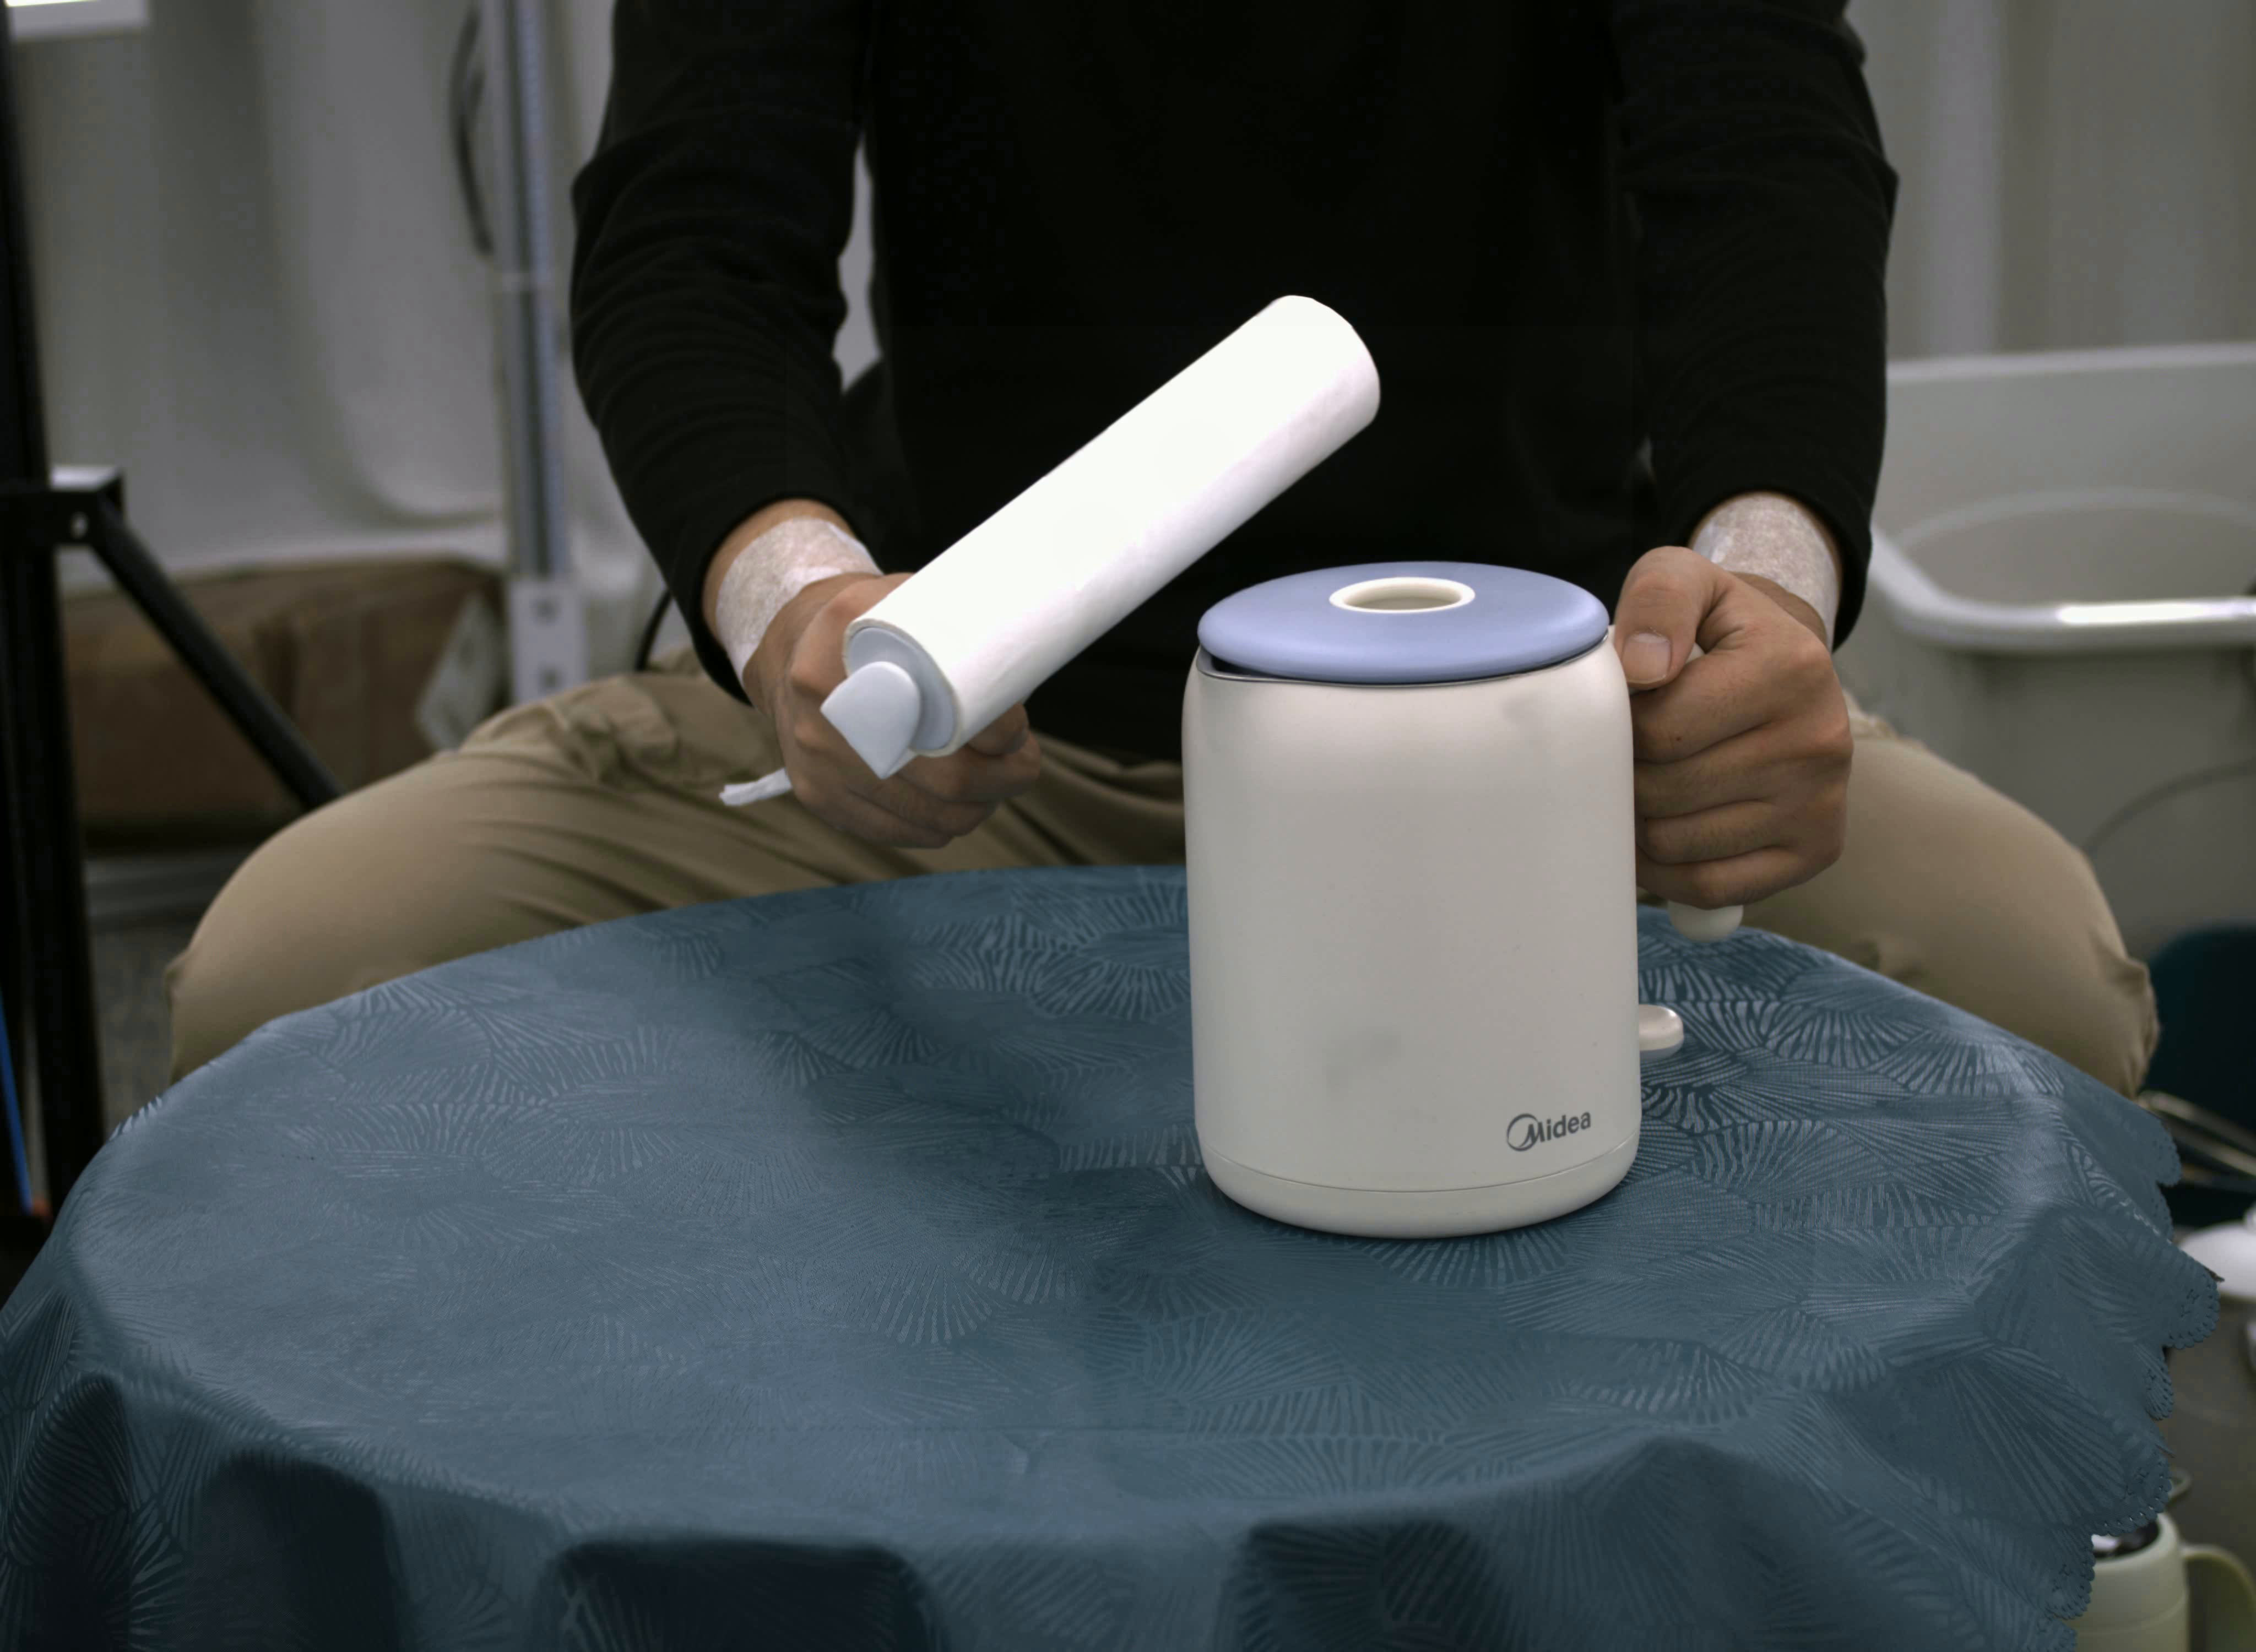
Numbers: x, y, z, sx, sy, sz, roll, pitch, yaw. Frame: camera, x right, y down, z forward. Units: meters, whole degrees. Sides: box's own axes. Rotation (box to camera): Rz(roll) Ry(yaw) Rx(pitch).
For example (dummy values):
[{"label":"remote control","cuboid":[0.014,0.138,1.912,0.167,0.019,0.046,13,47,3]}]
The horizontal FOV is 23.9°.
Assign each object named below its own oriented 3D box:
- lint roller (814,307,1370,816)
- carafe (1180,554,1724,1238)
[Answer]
[{"label":"lint roller","cuboid":[-0.042,-0.058,1.635,0.200,0.048,0.228,-39,1,-33]},{"label":"carafe","cuboid":[0.102,0.015,1.553,0.186,0.182,0.135,-10,18,-32]}]
